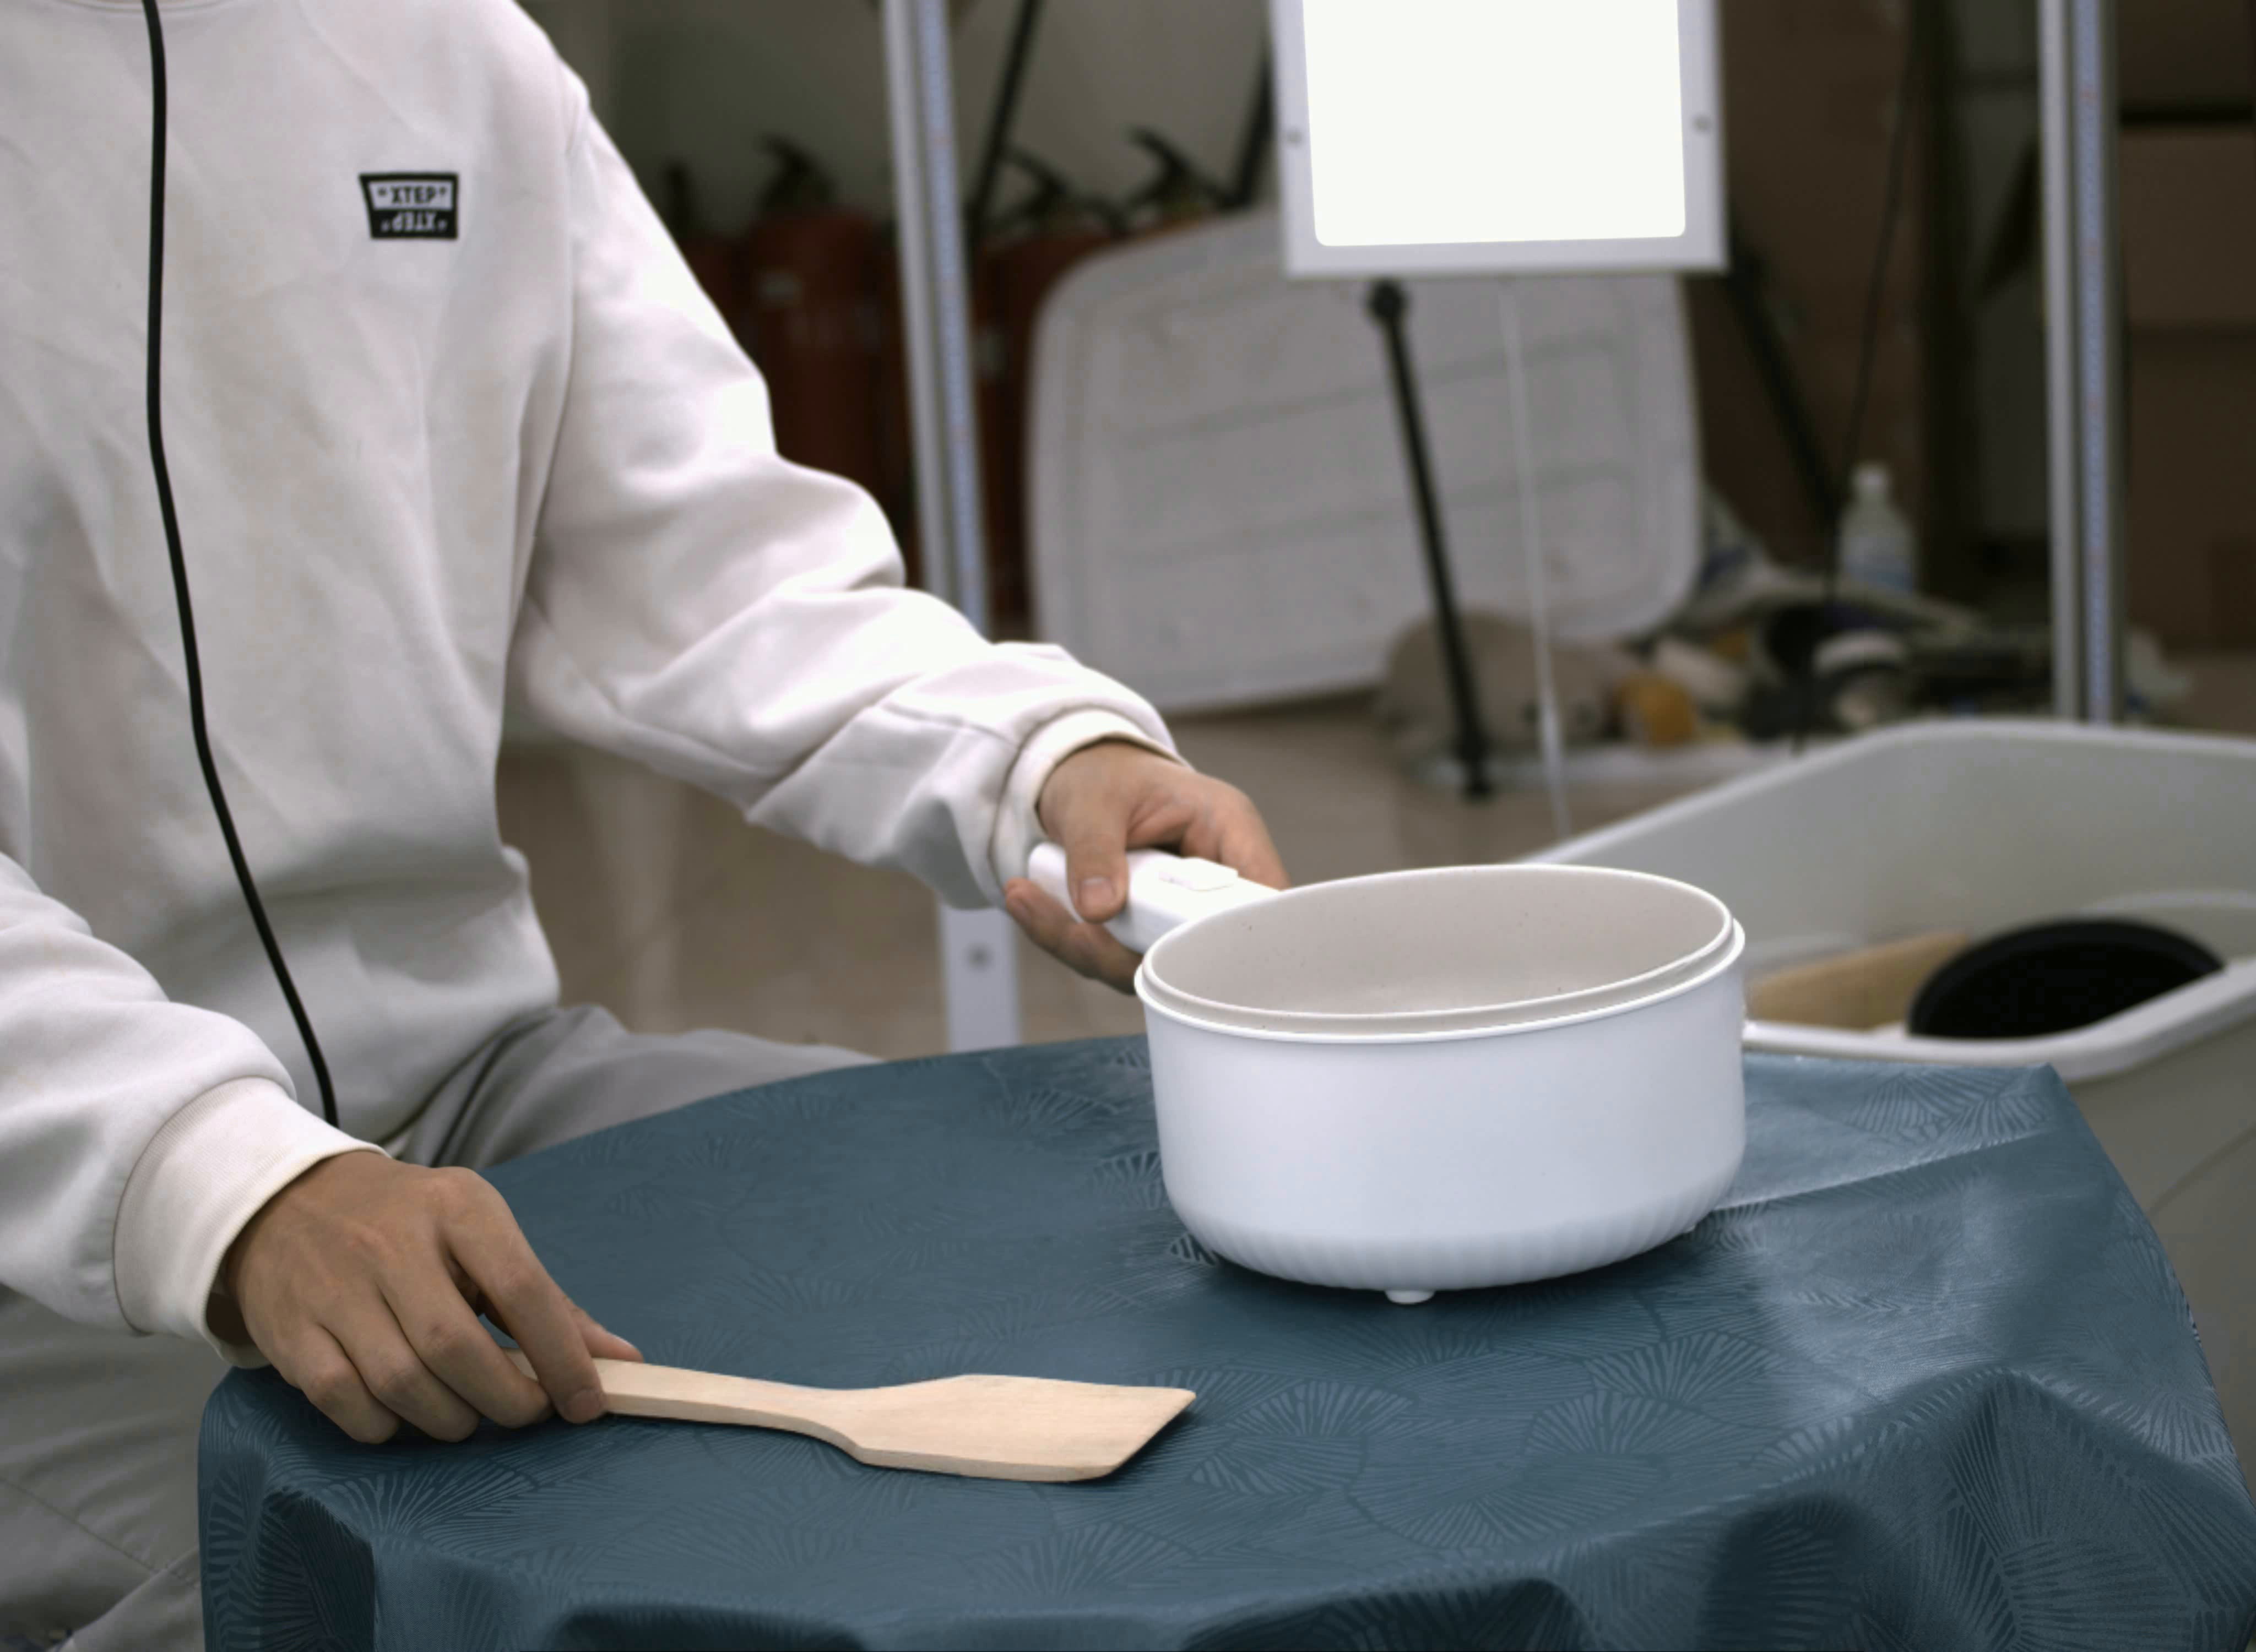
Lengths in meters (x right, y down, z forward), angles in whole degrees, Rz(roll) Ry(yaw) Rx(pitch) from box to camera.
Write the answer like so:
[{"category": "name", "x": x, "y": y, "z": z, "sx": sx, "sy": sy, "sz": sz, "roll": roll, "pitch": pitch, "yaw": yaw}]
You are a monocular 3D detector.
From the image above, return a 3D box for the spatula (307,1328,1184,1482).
[{"category": "spatula", "x": -0.127, "y": 0.177, "z": 1.712, "sx": 0.298, "sy": 0.011, "sz": 0.071, "roll": 3, "pitch": 17, "yaw": 26}]

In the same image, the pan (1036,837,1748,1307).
[{"category": "pan", "x": 0.069, "y": 0.076, "z": 1.881, "sx": 0.197, "sy": 0.102, "sz": 0.361, "roll": -13, "pitch": 14, "yaw": -26}]
